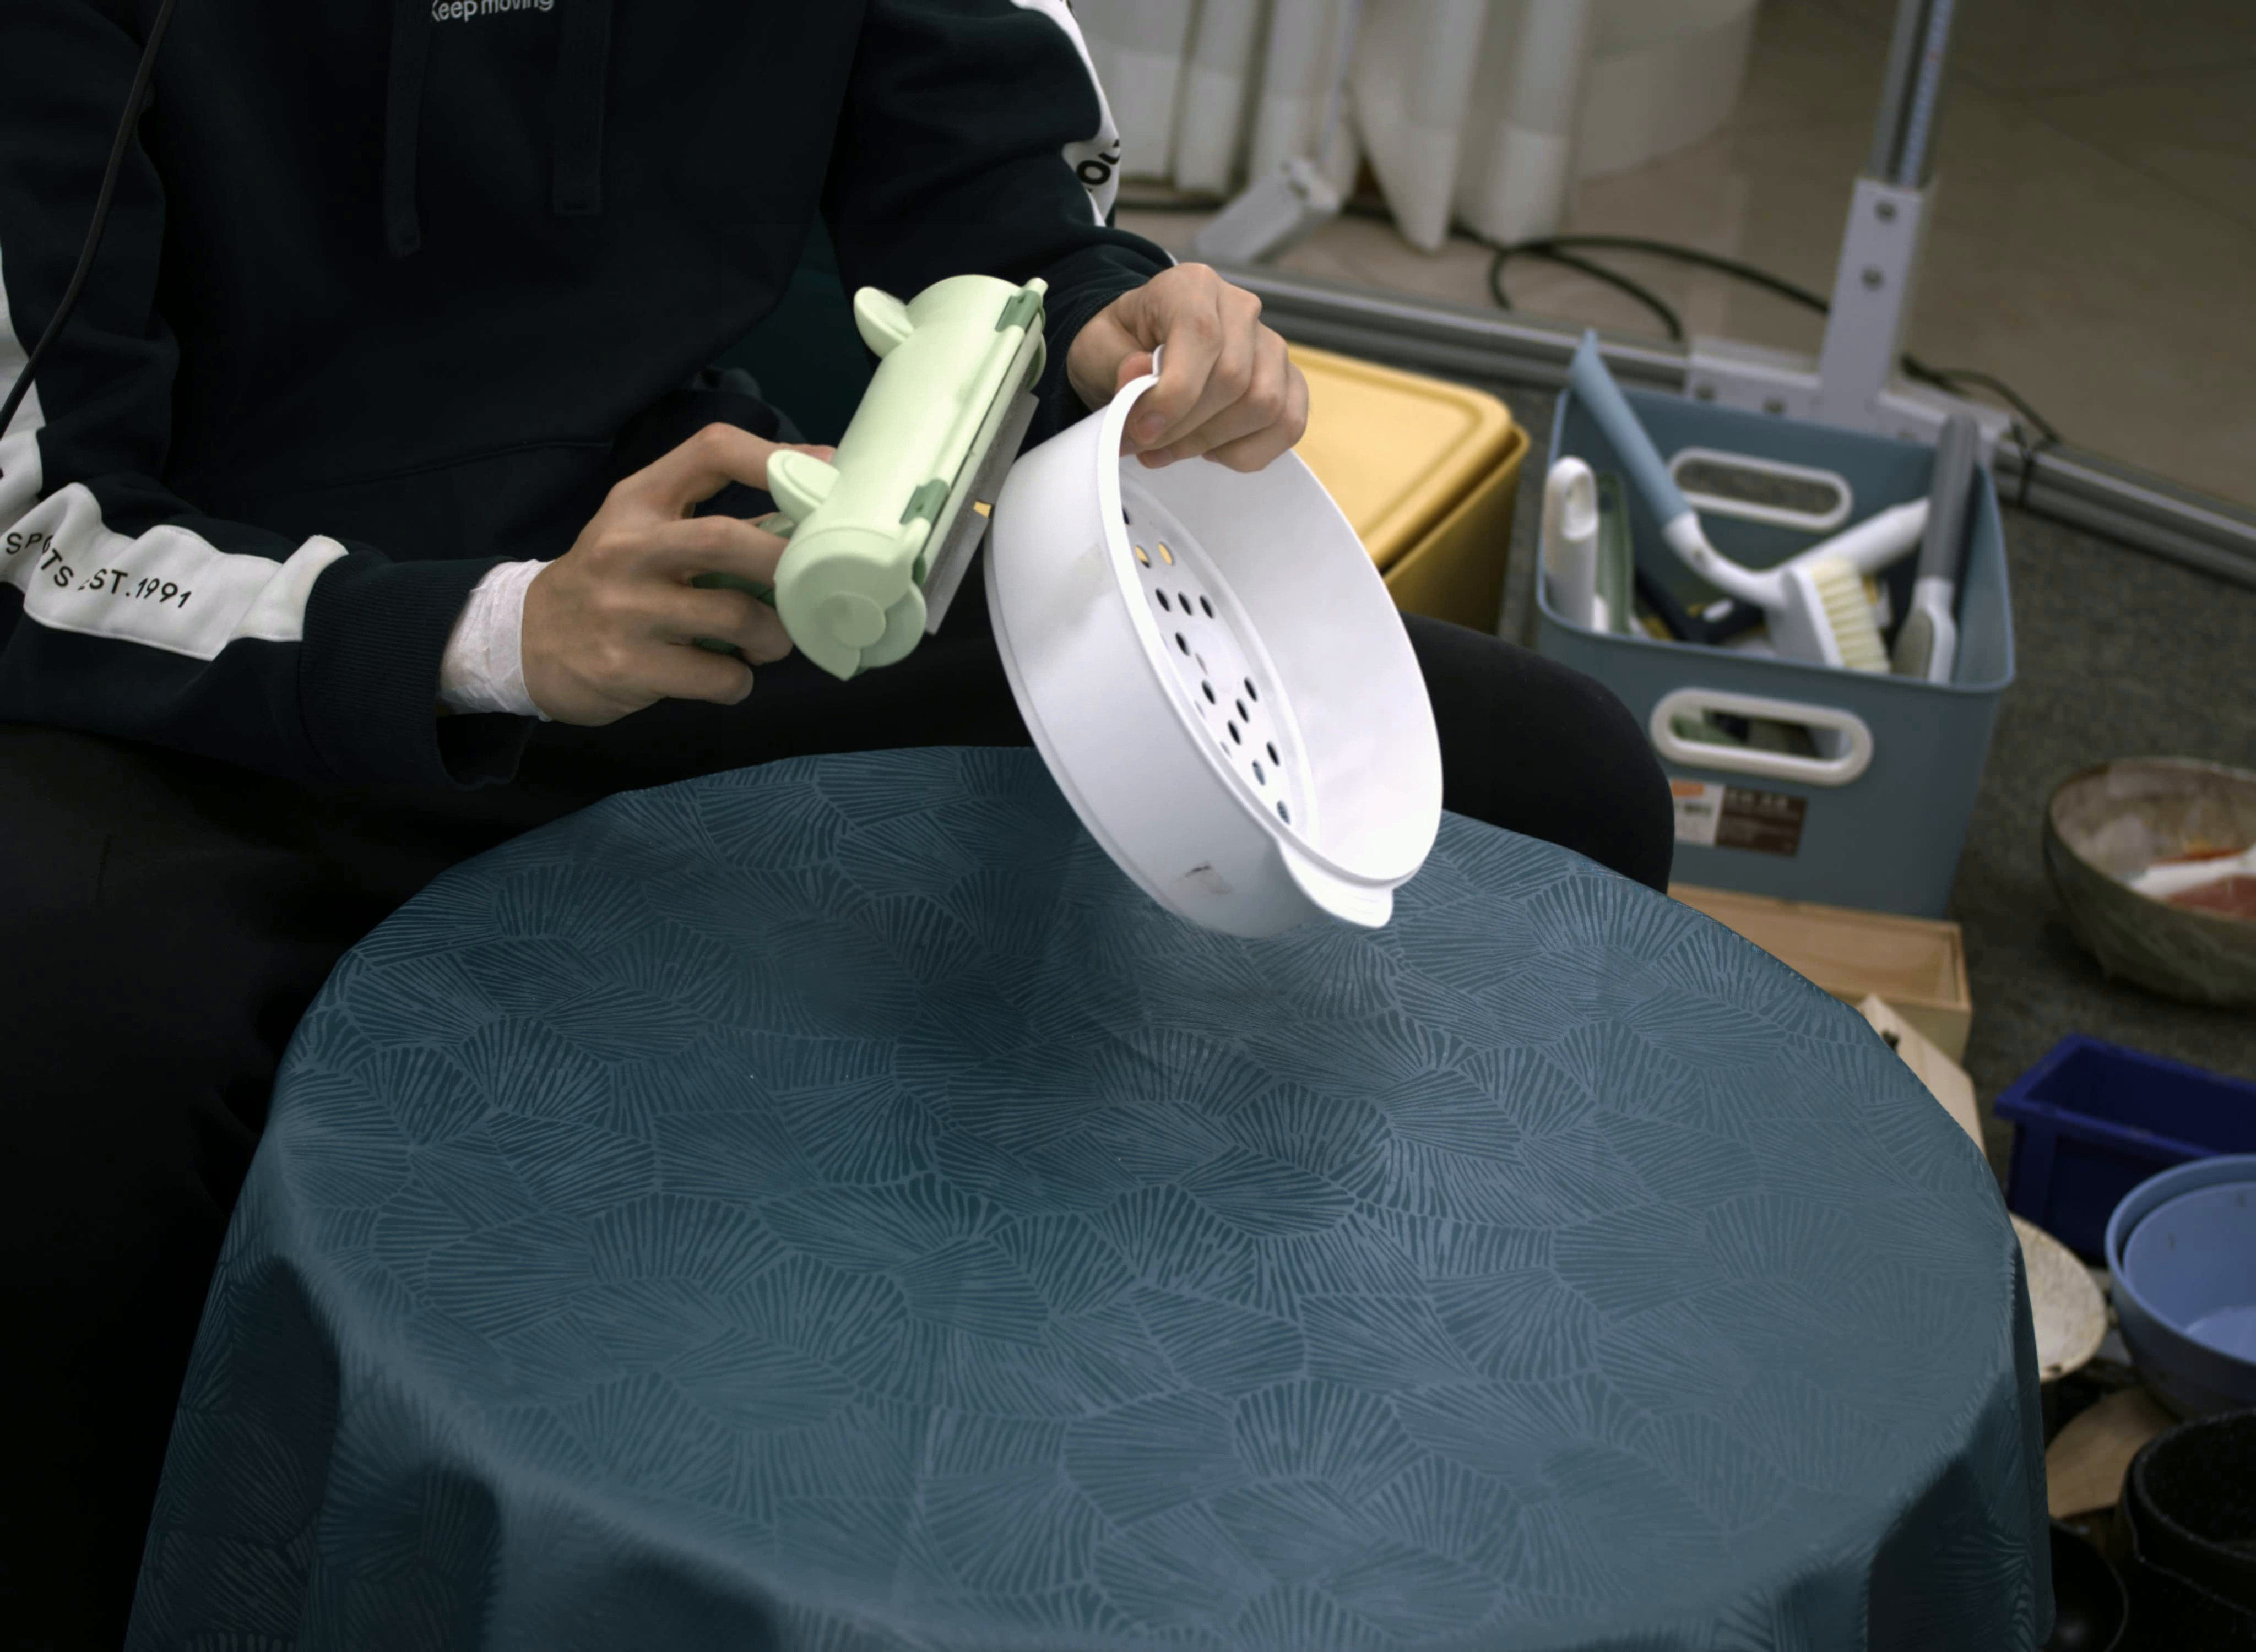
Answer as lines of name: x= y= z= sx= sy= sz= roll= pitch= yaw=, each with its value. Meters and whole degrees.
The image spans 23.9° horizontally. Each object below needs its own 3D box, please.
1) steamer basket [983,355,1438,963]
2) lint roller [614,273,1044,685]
steamer basket: x=0.029 y=-0.051 z=1.878 sx=0.200 sy=0.069 sz=0.232 roll=23 pitch=50 yaw=-52
lint roller: x=-0.123 y=-0.111 z=1.862 sx=0.183 sy=0.082 sz=0.199 roll=-23 pitch=25 yaw=27
